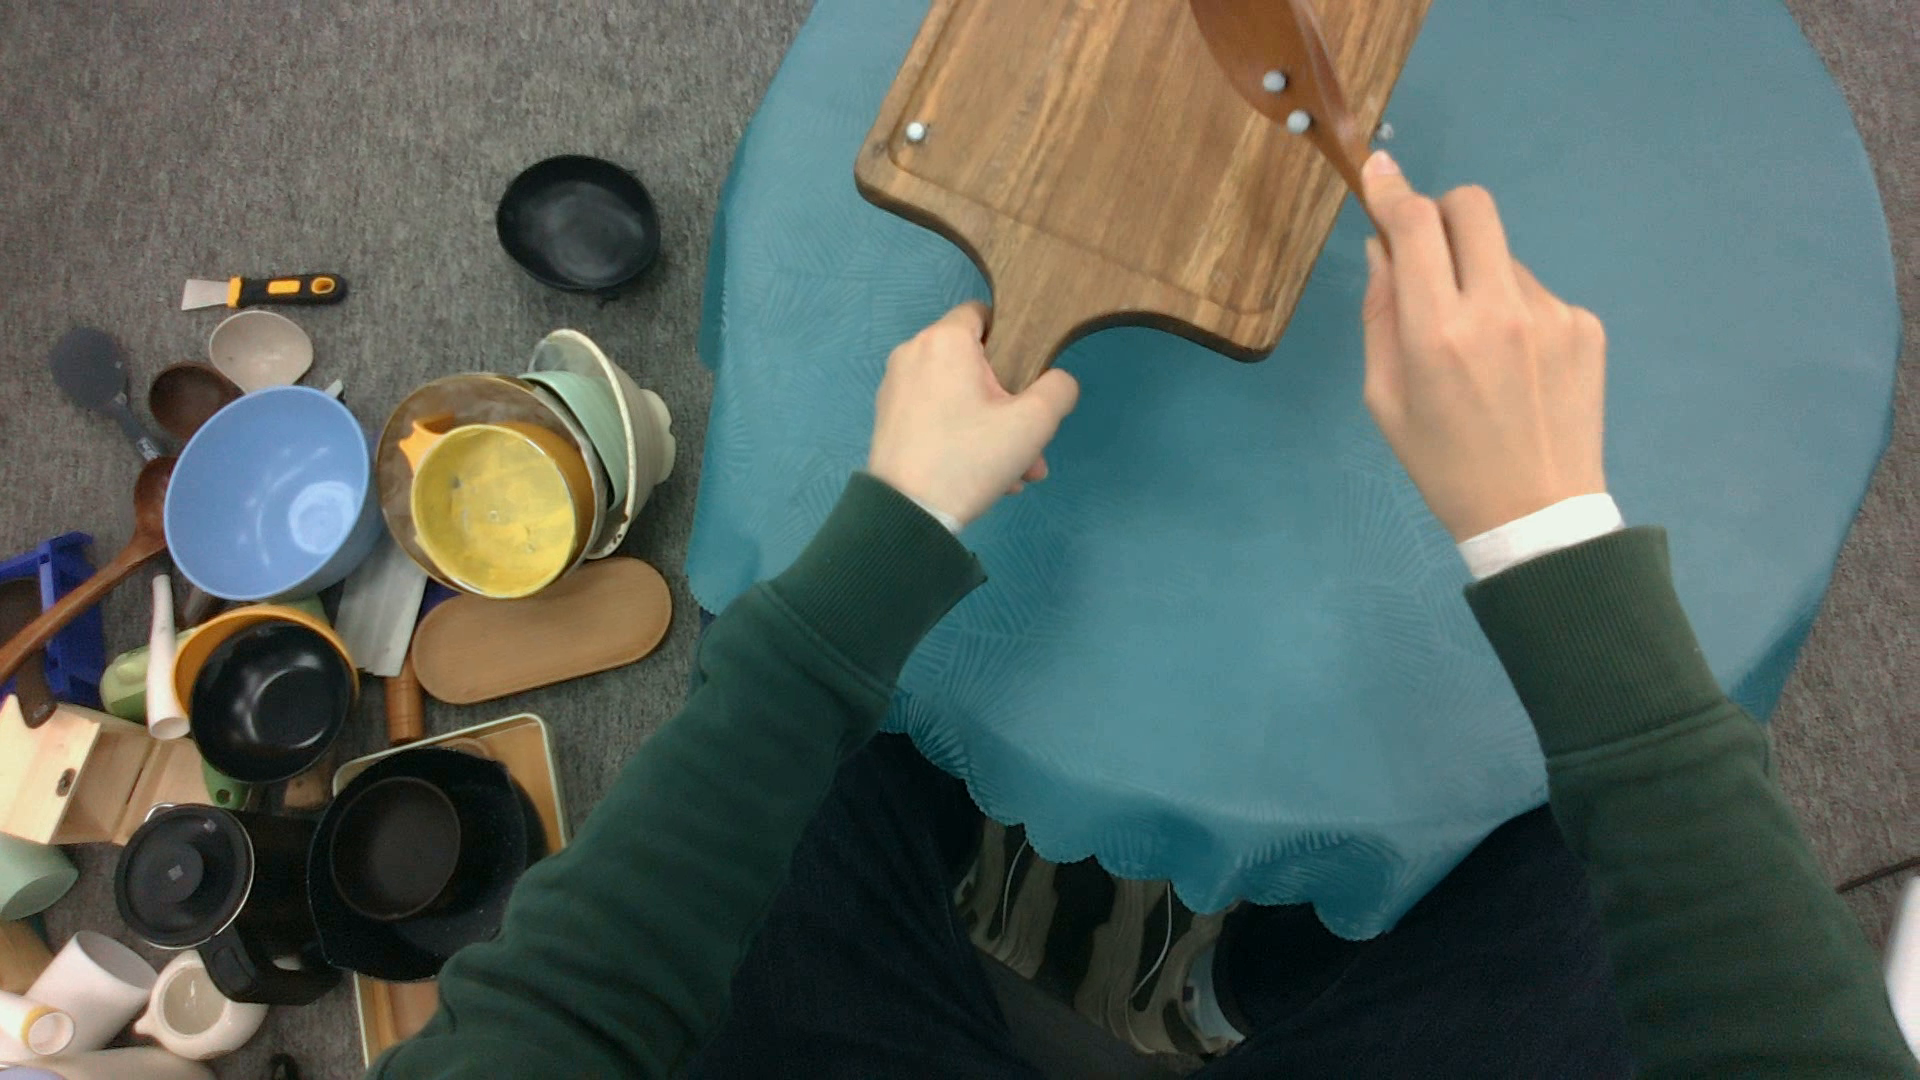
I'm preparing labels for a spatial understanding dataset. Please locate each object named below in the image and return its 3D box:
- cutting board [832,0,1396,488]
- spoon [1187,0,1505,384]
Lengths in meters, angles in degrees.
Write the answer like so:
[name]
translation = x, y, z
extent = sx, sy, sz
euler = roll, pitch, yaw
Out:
[cutting board]
translation = 0.061, -0.185, 0.598
extent = 0.201, 0.023, 0.353
euler = 23, 80, 4
[spoon]
translation = 0.135, -0.151, 0.490
extent = 0.017, 0.075, 0.216
euler = -23, 82, -20
